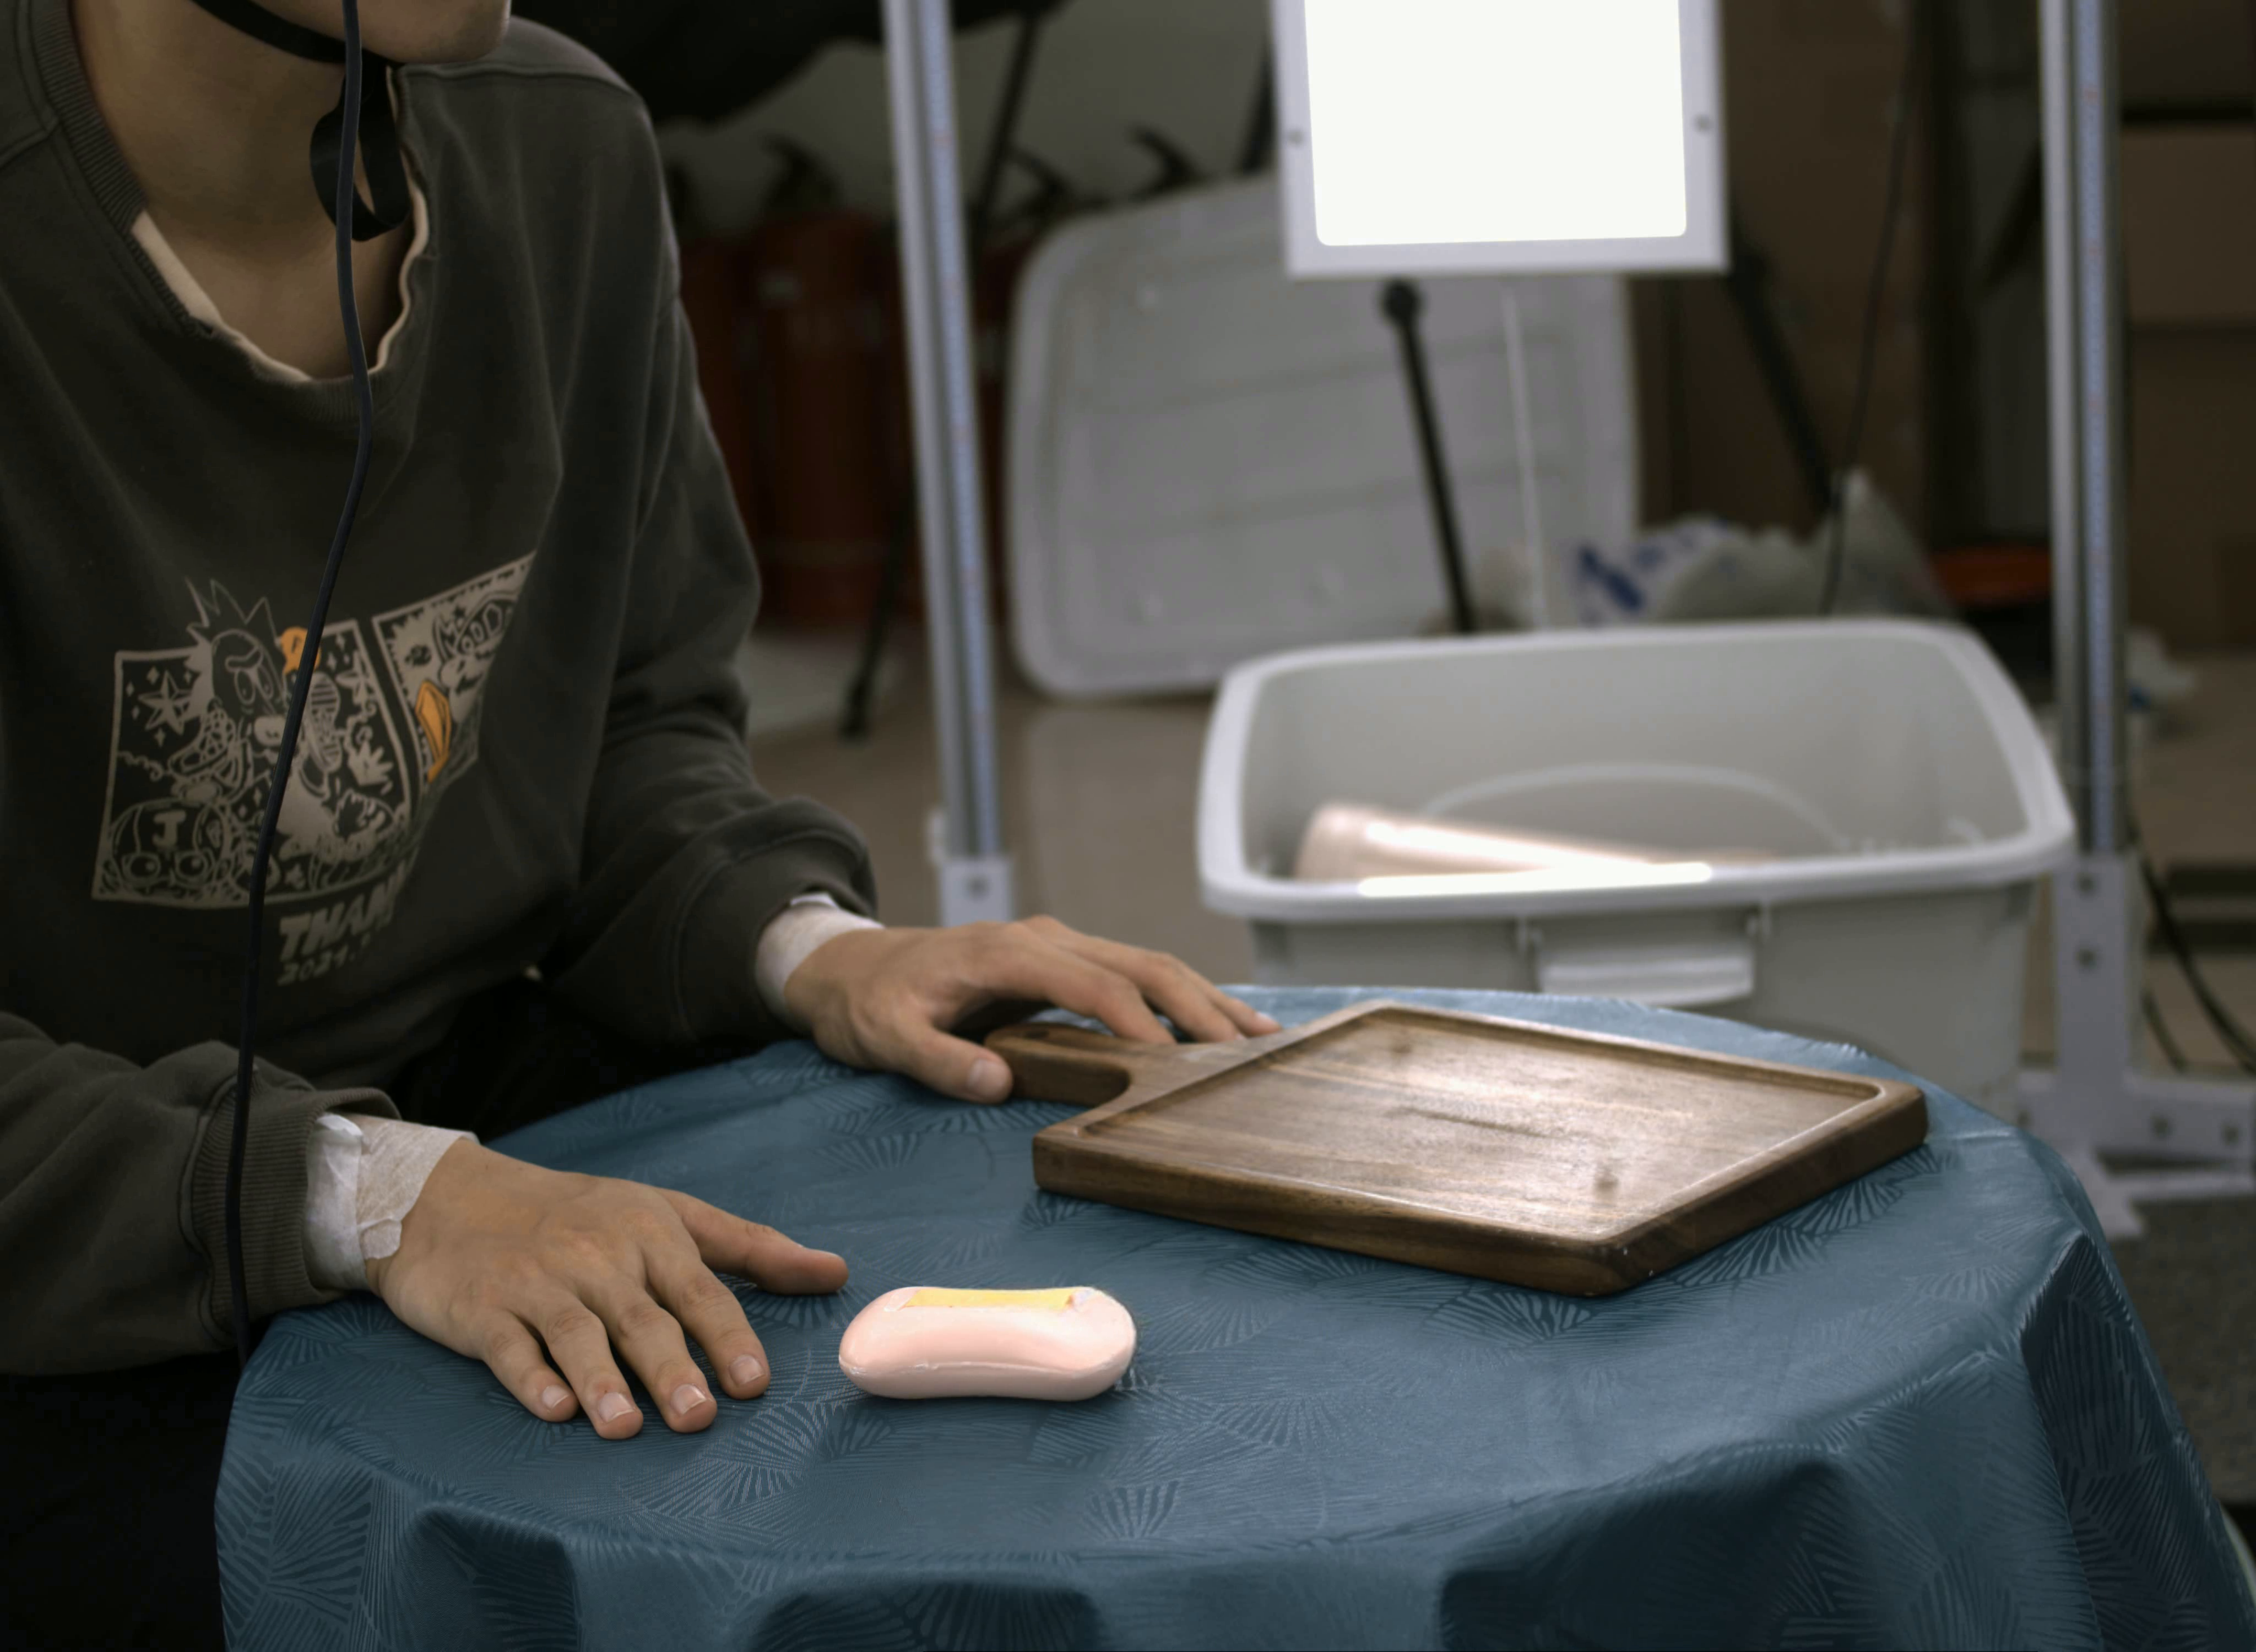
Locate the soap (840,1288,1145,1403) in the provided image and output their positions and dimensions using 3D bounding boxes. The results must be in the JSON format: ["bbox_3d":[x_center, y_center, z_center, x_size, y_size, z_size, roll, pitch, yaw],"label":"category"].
[{"bbox_3d":[-0.042,0.162,1.712,0.095,0.030,0.049,-2,13,17],"label":"soap"}]

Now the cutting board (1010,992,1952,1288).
[{"bbox_3d":[0.094,0.099,1.930,0.360,0.023,0.196,8,19,43],"label":"cutting board"}]
